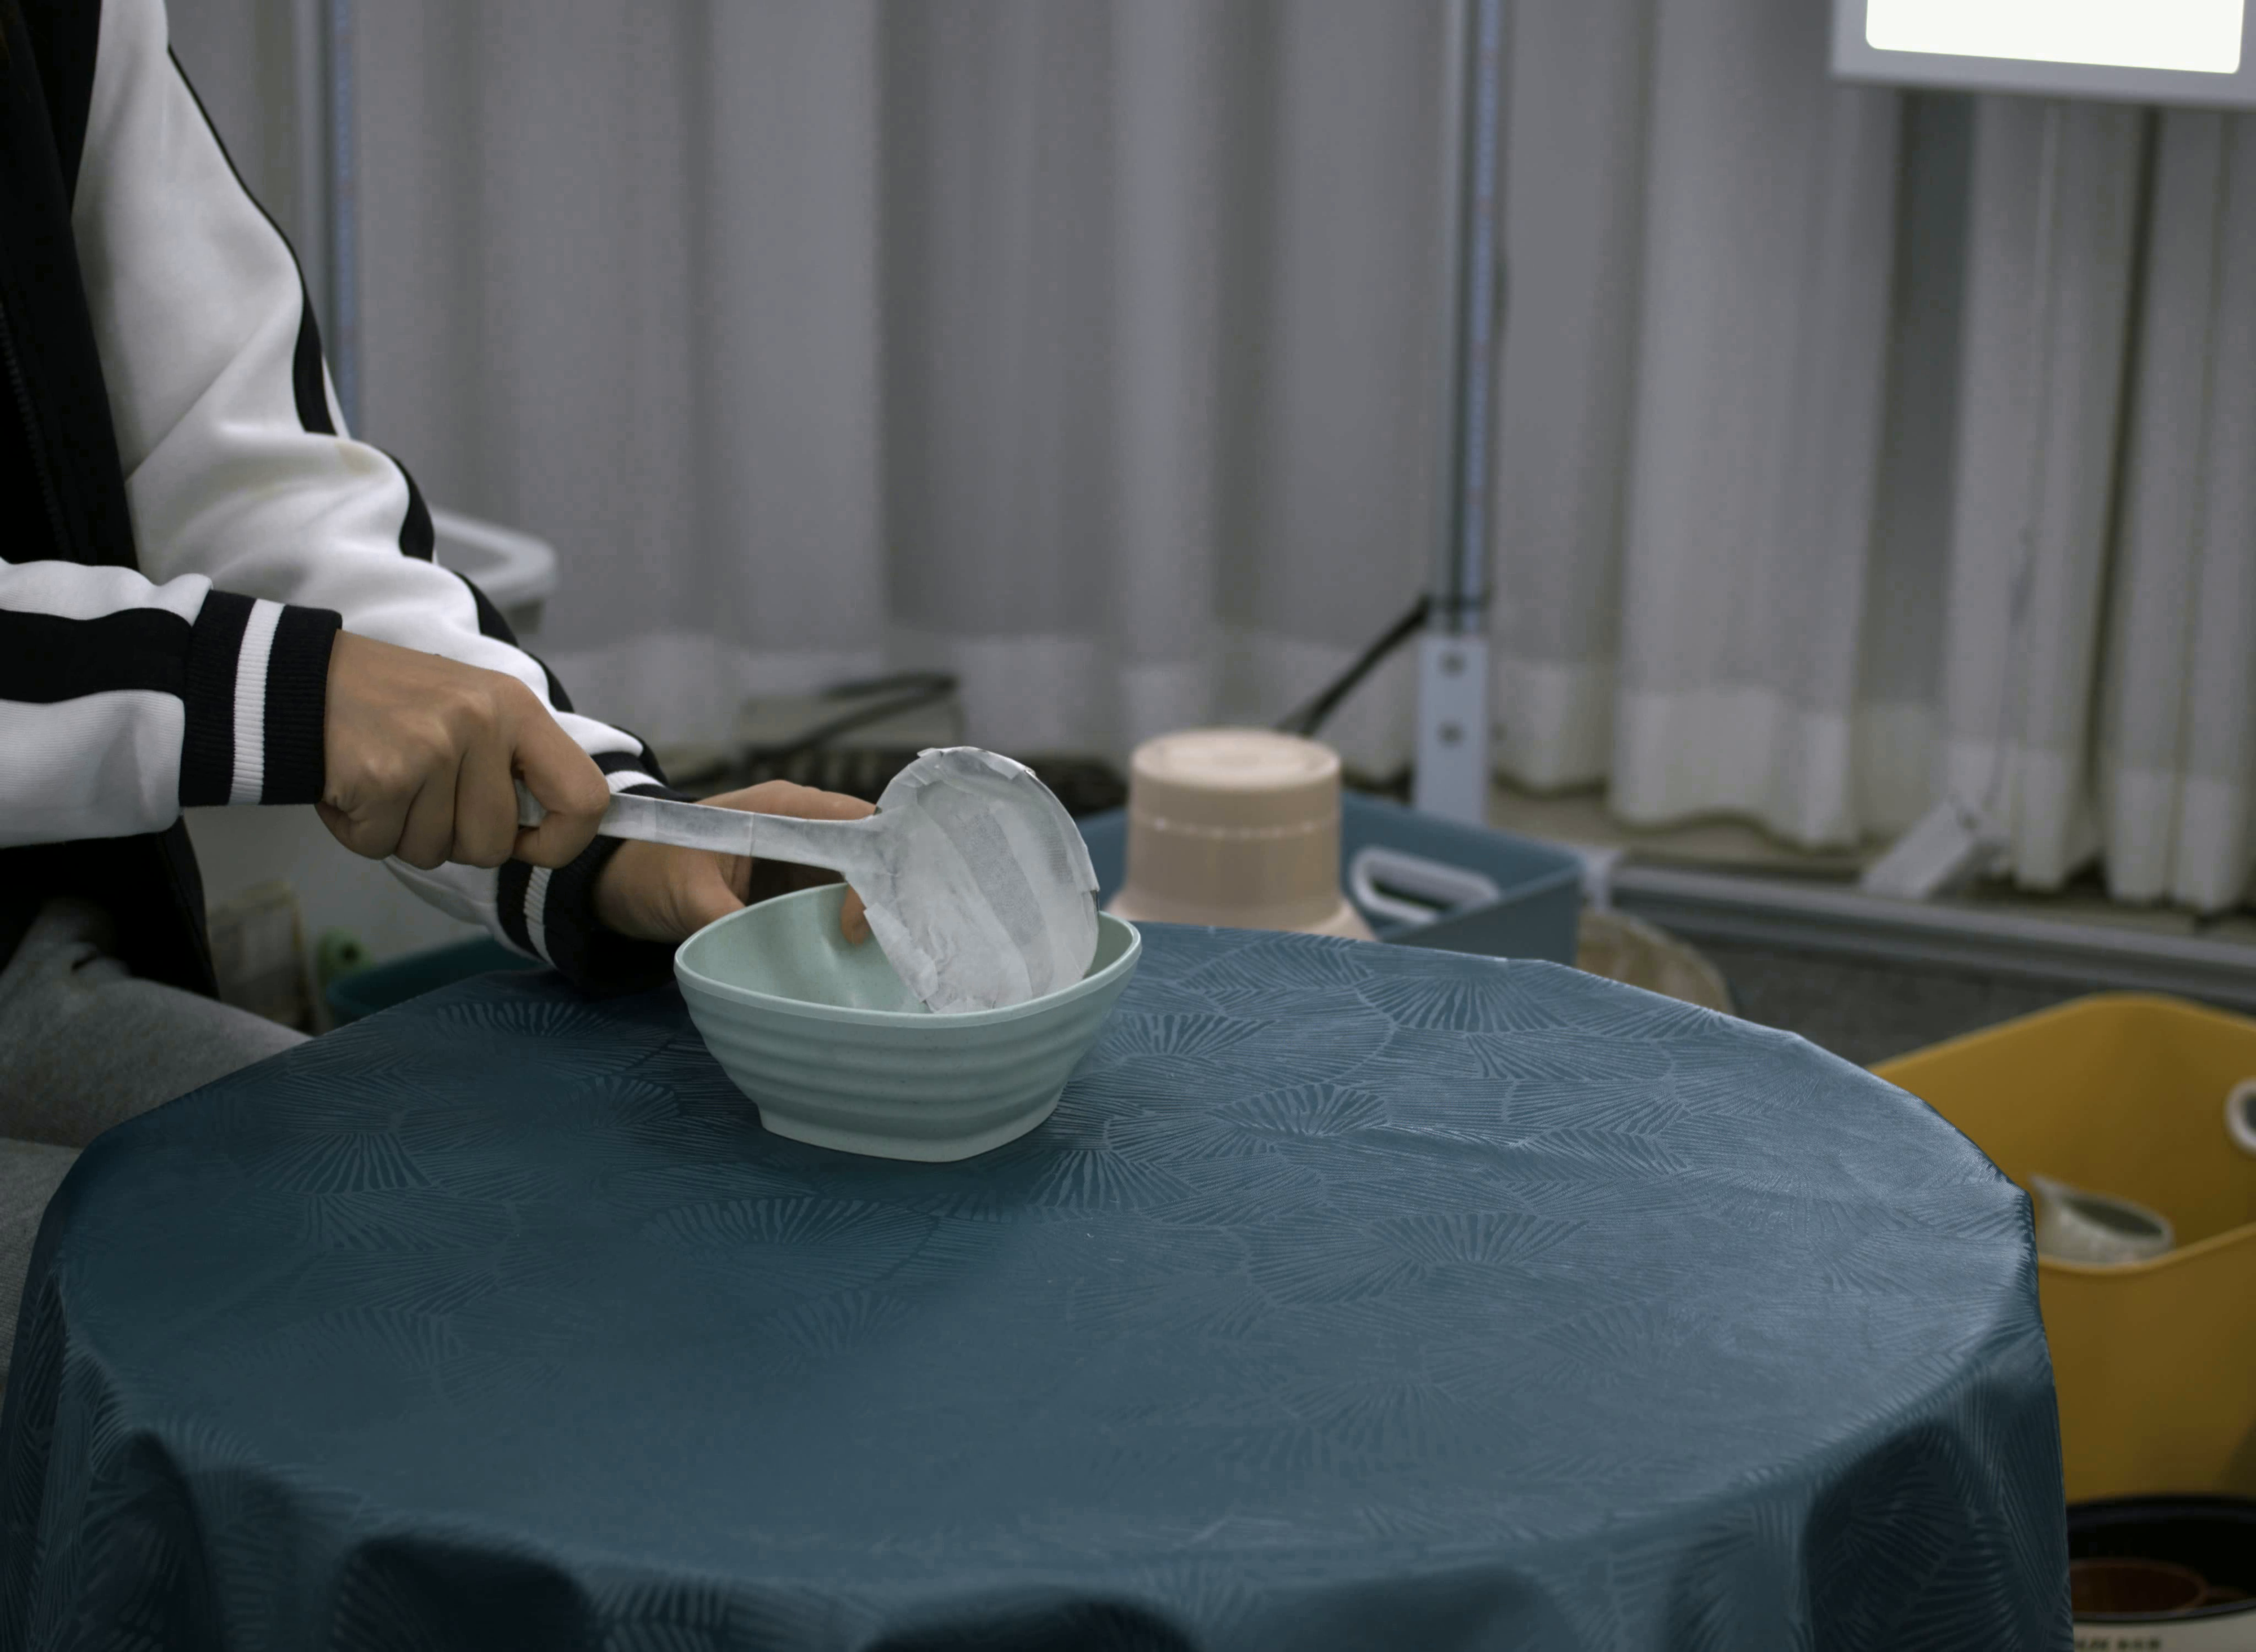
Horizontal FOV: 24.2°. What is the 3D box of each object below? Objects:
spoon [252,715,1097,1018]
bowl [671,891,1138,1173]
[{"bbox_3d":[-0.145,-0.002,1.668,0.277,0.101,0.059,11,15,-3],"label":"spoon"},{"bbox_3d":[-0.071,0.068,1.682,0.151,0.059,0.150,1,15,0],"label":"bowl"}]
